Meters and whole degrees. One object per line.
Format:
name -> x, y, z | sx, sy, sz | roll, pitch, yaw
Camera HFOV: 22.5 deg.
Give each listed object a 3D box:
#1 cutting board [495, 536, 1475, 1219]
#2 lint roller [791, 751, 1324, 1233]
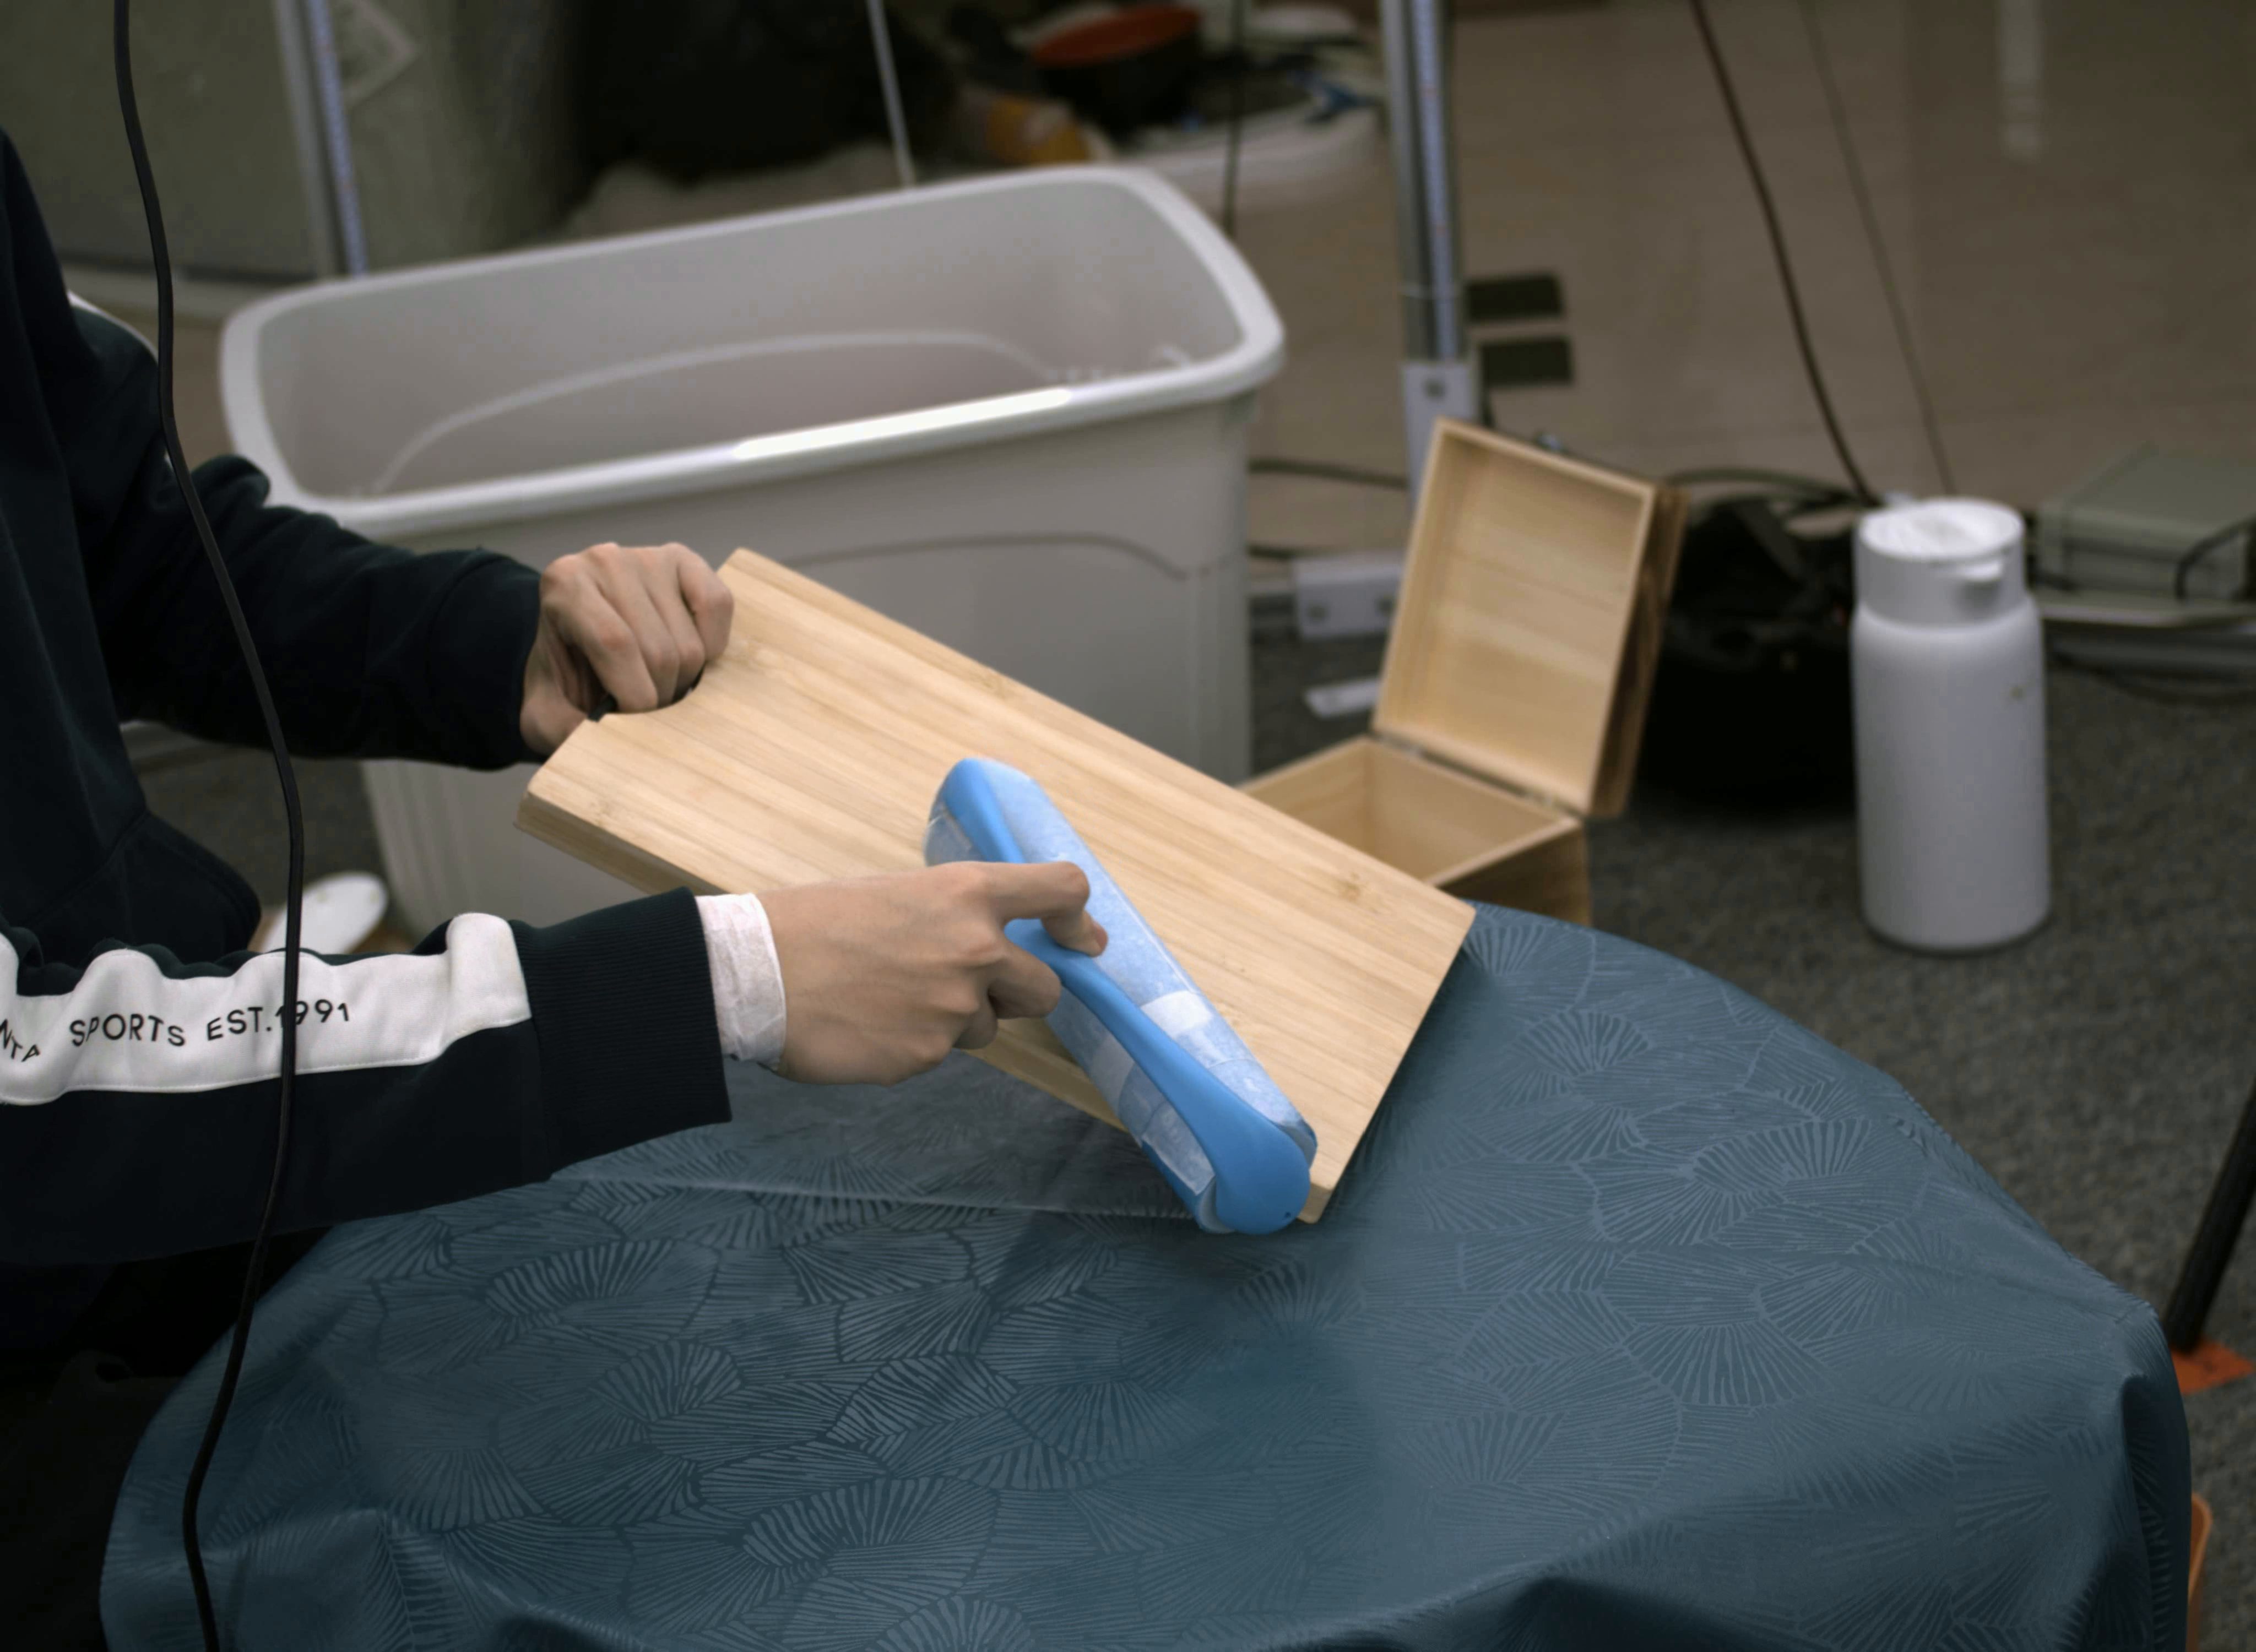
cutting board -> -0.049, 0.015, 2.214 | 0.348, 0.024, 0.247 | 26, 31, 3
lint roller -> -0.040, 0.062, 2.053 | 0.180, 0.069, 0.226 | -2, 47, -50
